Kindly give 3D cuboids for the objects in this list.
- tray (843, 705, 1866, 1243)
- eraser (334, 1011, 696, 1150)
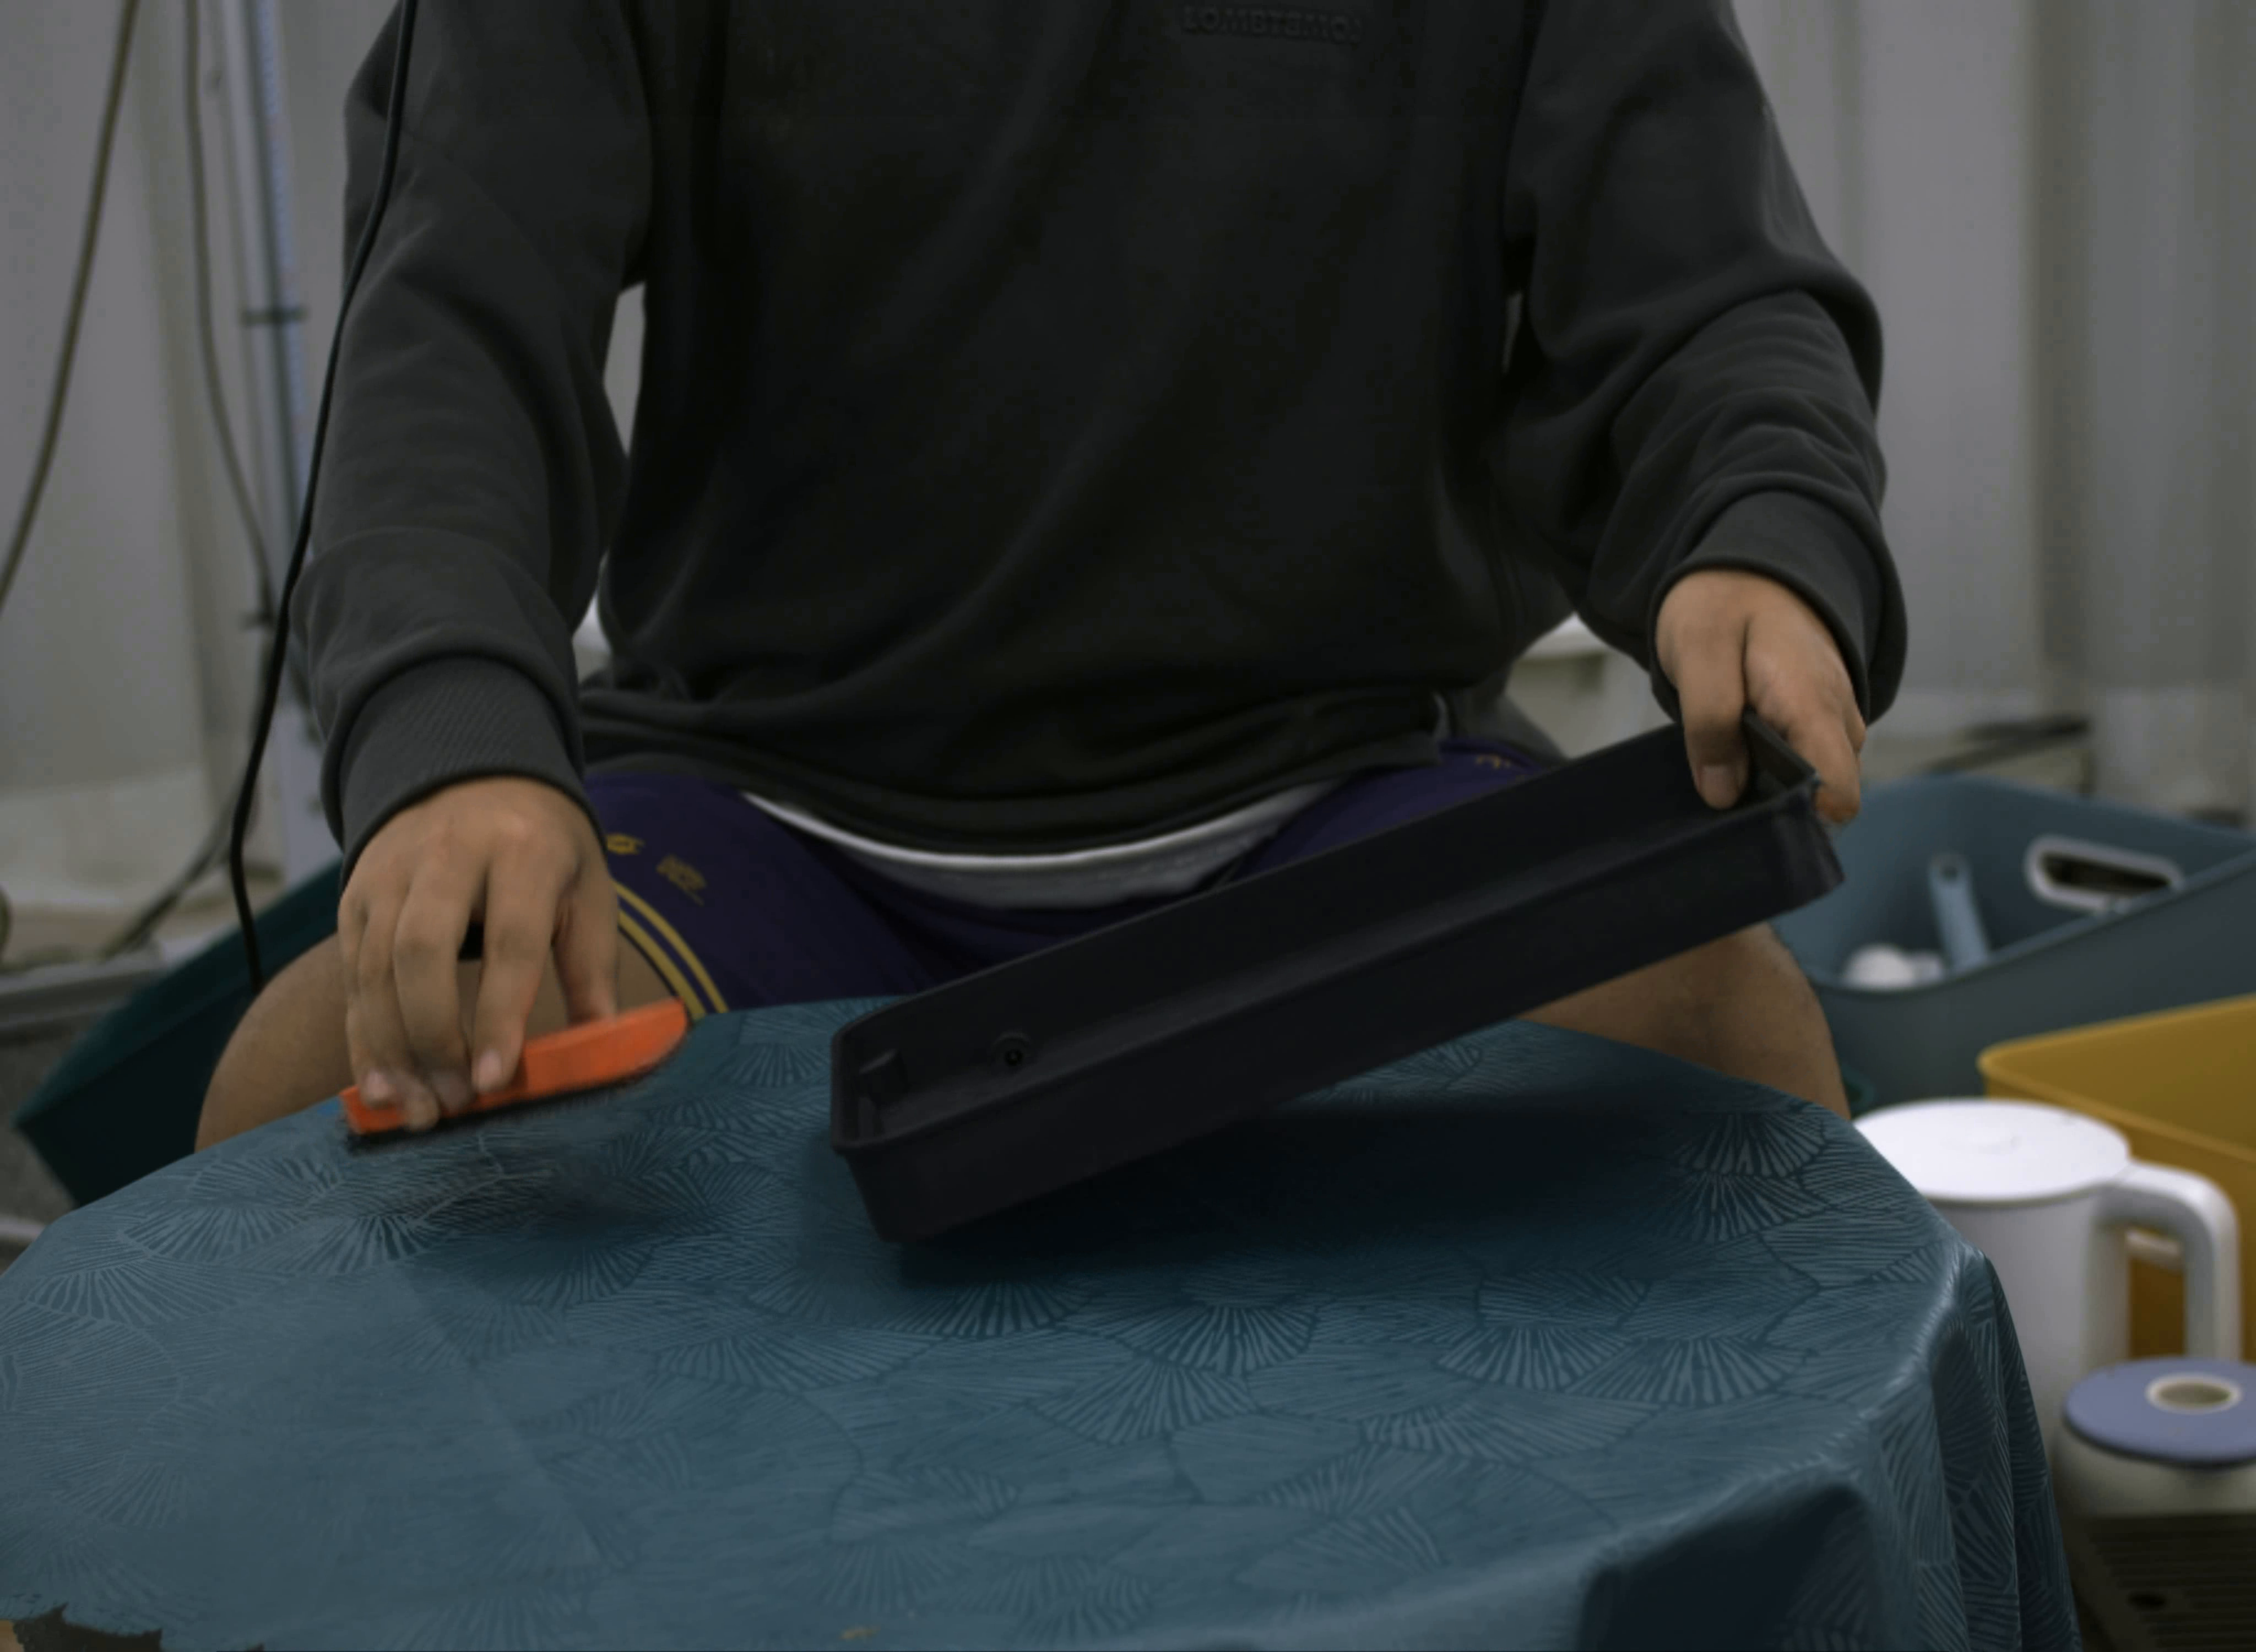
[{"bbox_3d":[0.066,0.043,1.708,0.317,0.037,0.185,-21,9,-1],"label":"tray"},{"bbox_3d":[-0.193,0.080,1.719,0.108,0.023,0.059,-13,-3,30],"label":"eraser"}]
